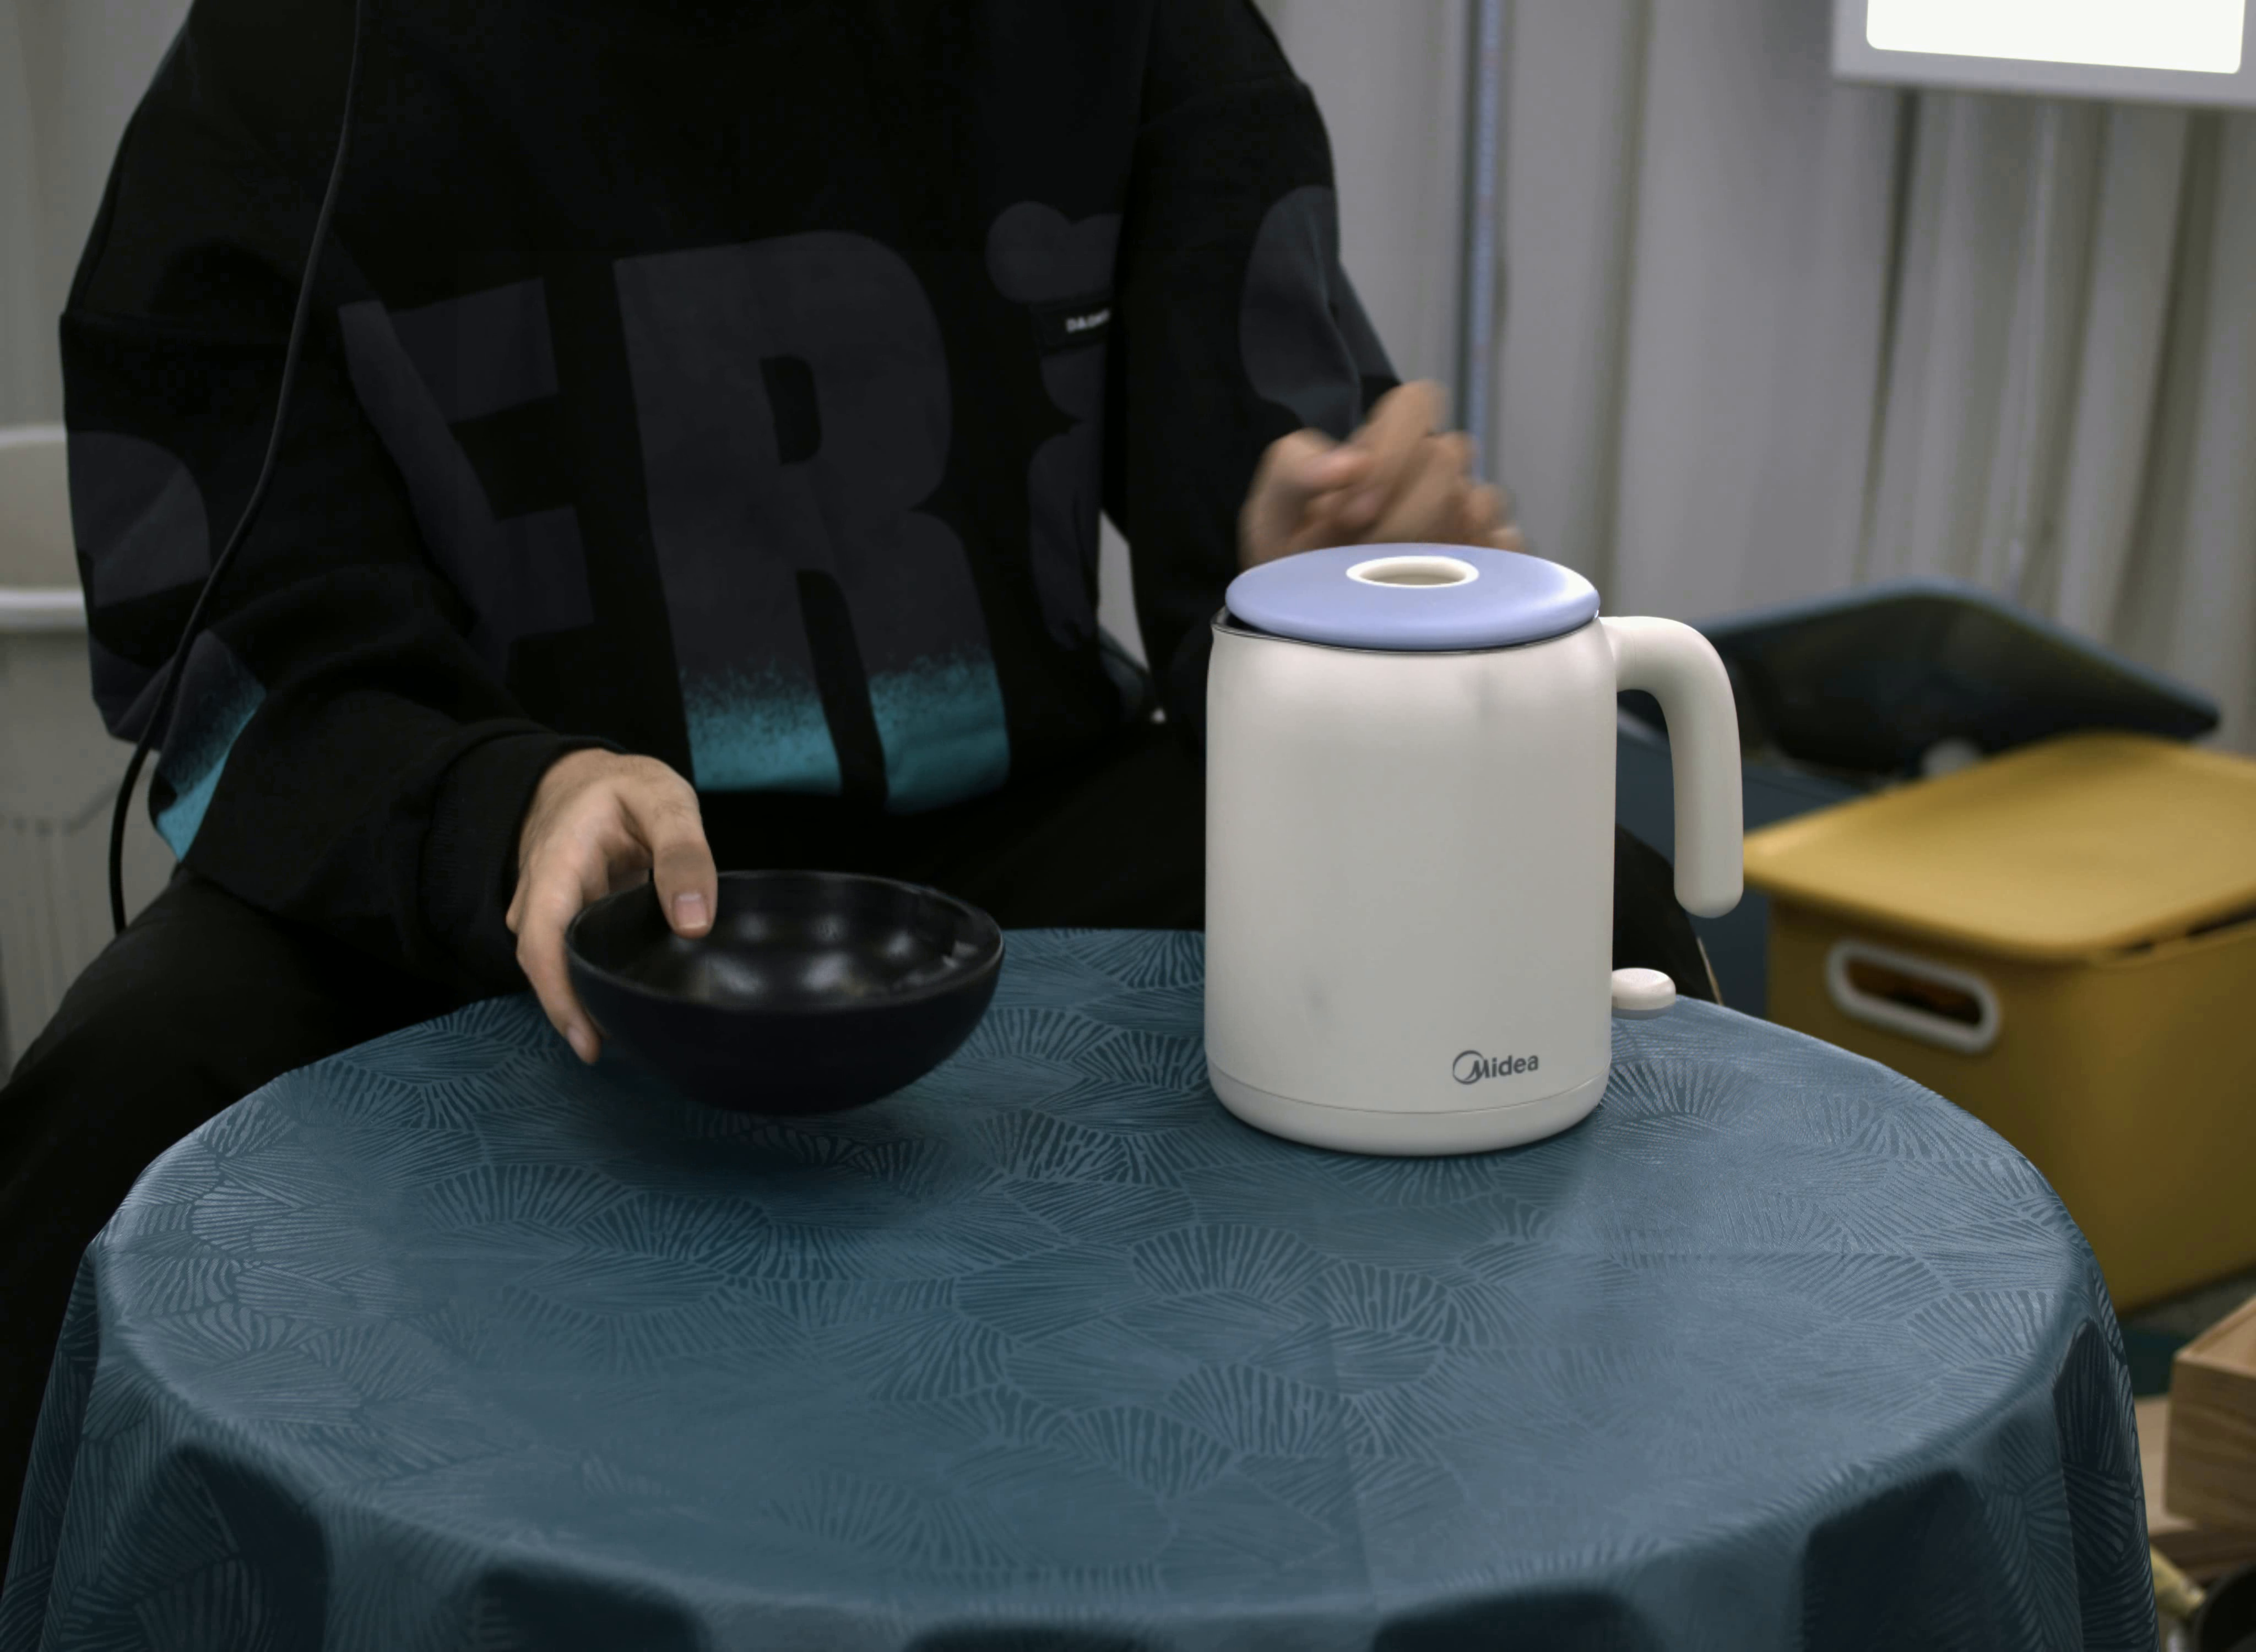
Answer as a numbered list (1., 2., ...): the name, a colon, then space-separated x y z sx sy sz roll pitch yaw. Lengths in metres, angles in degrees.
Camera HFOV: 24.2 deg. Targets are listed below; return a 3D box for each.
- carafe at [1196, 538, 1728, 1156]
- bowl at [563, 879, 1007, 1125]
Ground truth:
1. carafe: 0.111 0.004 1.693 0.192 0.184 0.130 -5 18 -24
2. bowl: -0.107 0.060 1.651 0.139 0.050 0.139 2 16 0
